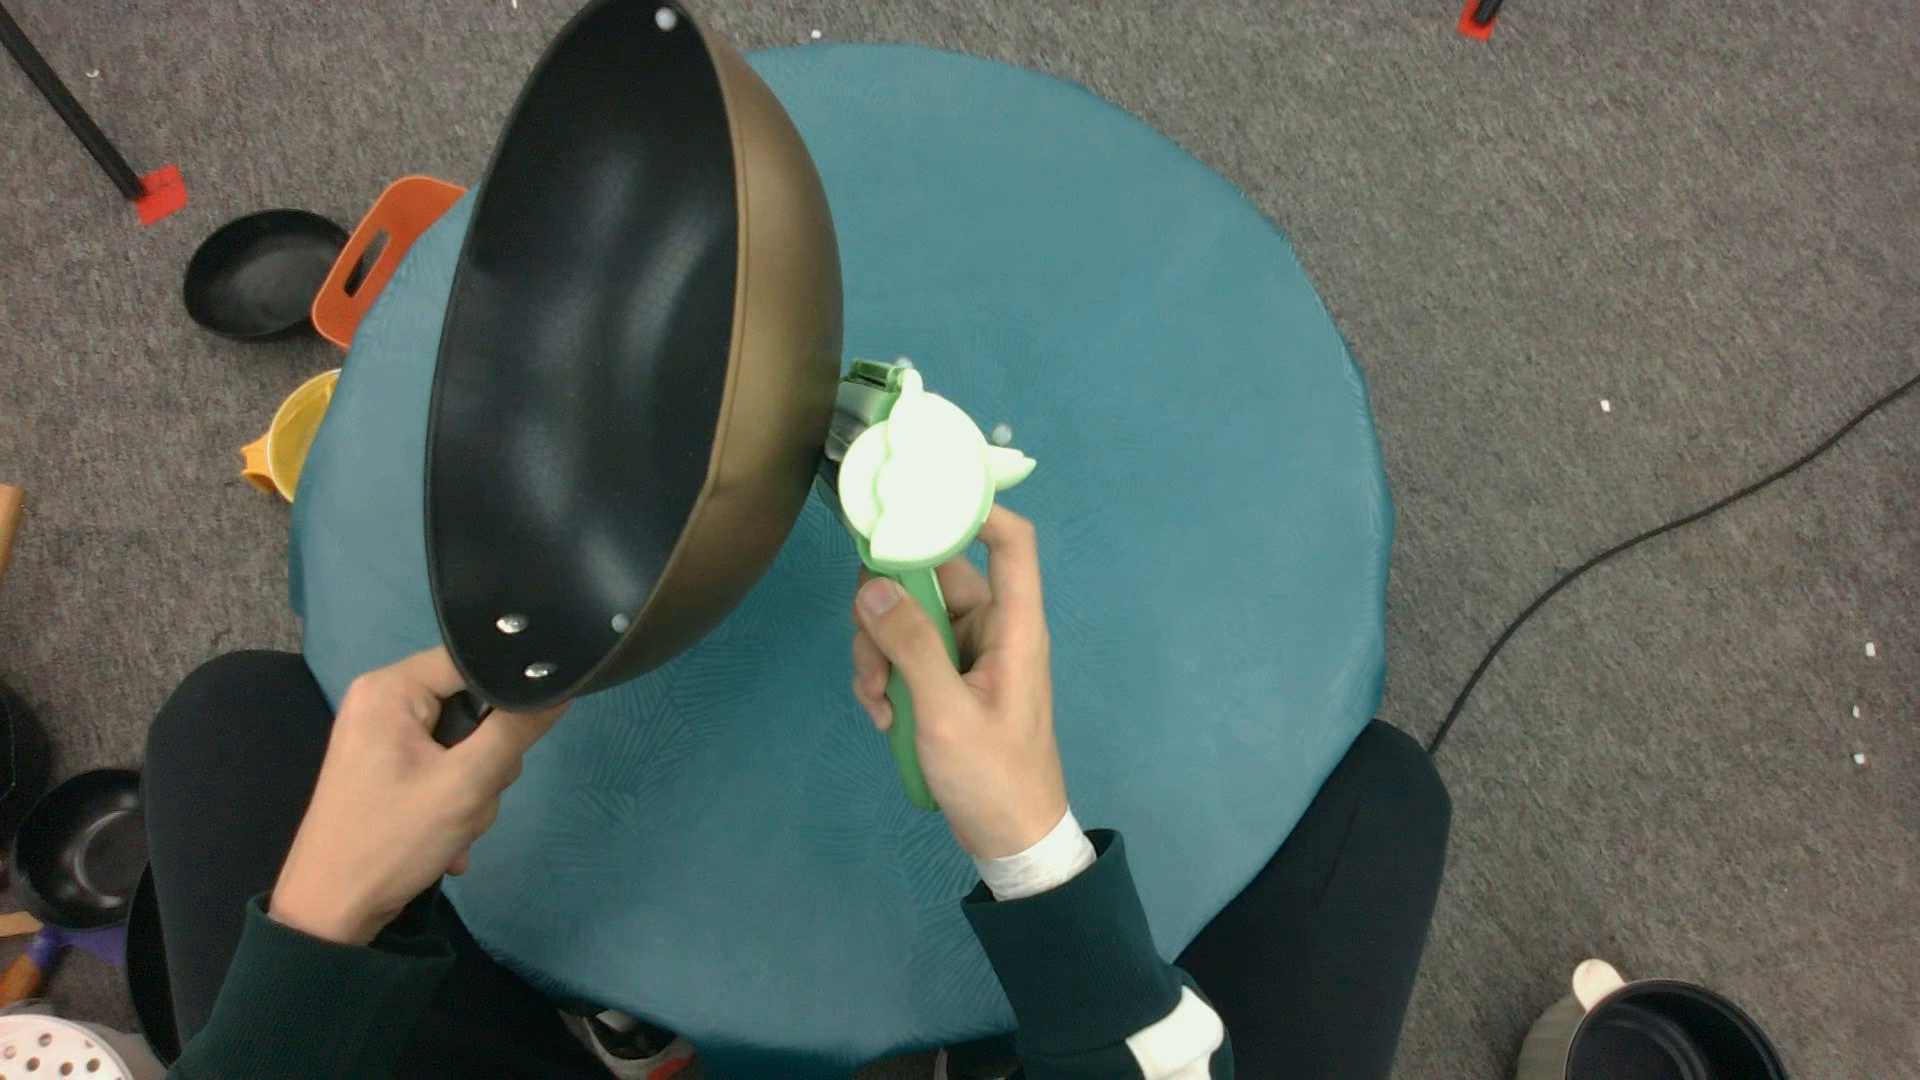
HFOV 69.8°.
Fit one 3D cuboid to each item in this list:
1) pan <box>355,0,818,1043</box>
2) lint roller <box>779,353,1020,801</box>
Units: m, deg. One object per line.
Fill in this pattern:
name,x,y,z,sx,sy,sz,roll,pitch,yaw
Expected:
pan,-0.163,0.011,0.570,0.087,0.288,0.462,7,107,-38
lint roller,-0.013,0.012,0.558,0.082,0.198,0.183,-23,101,-8
